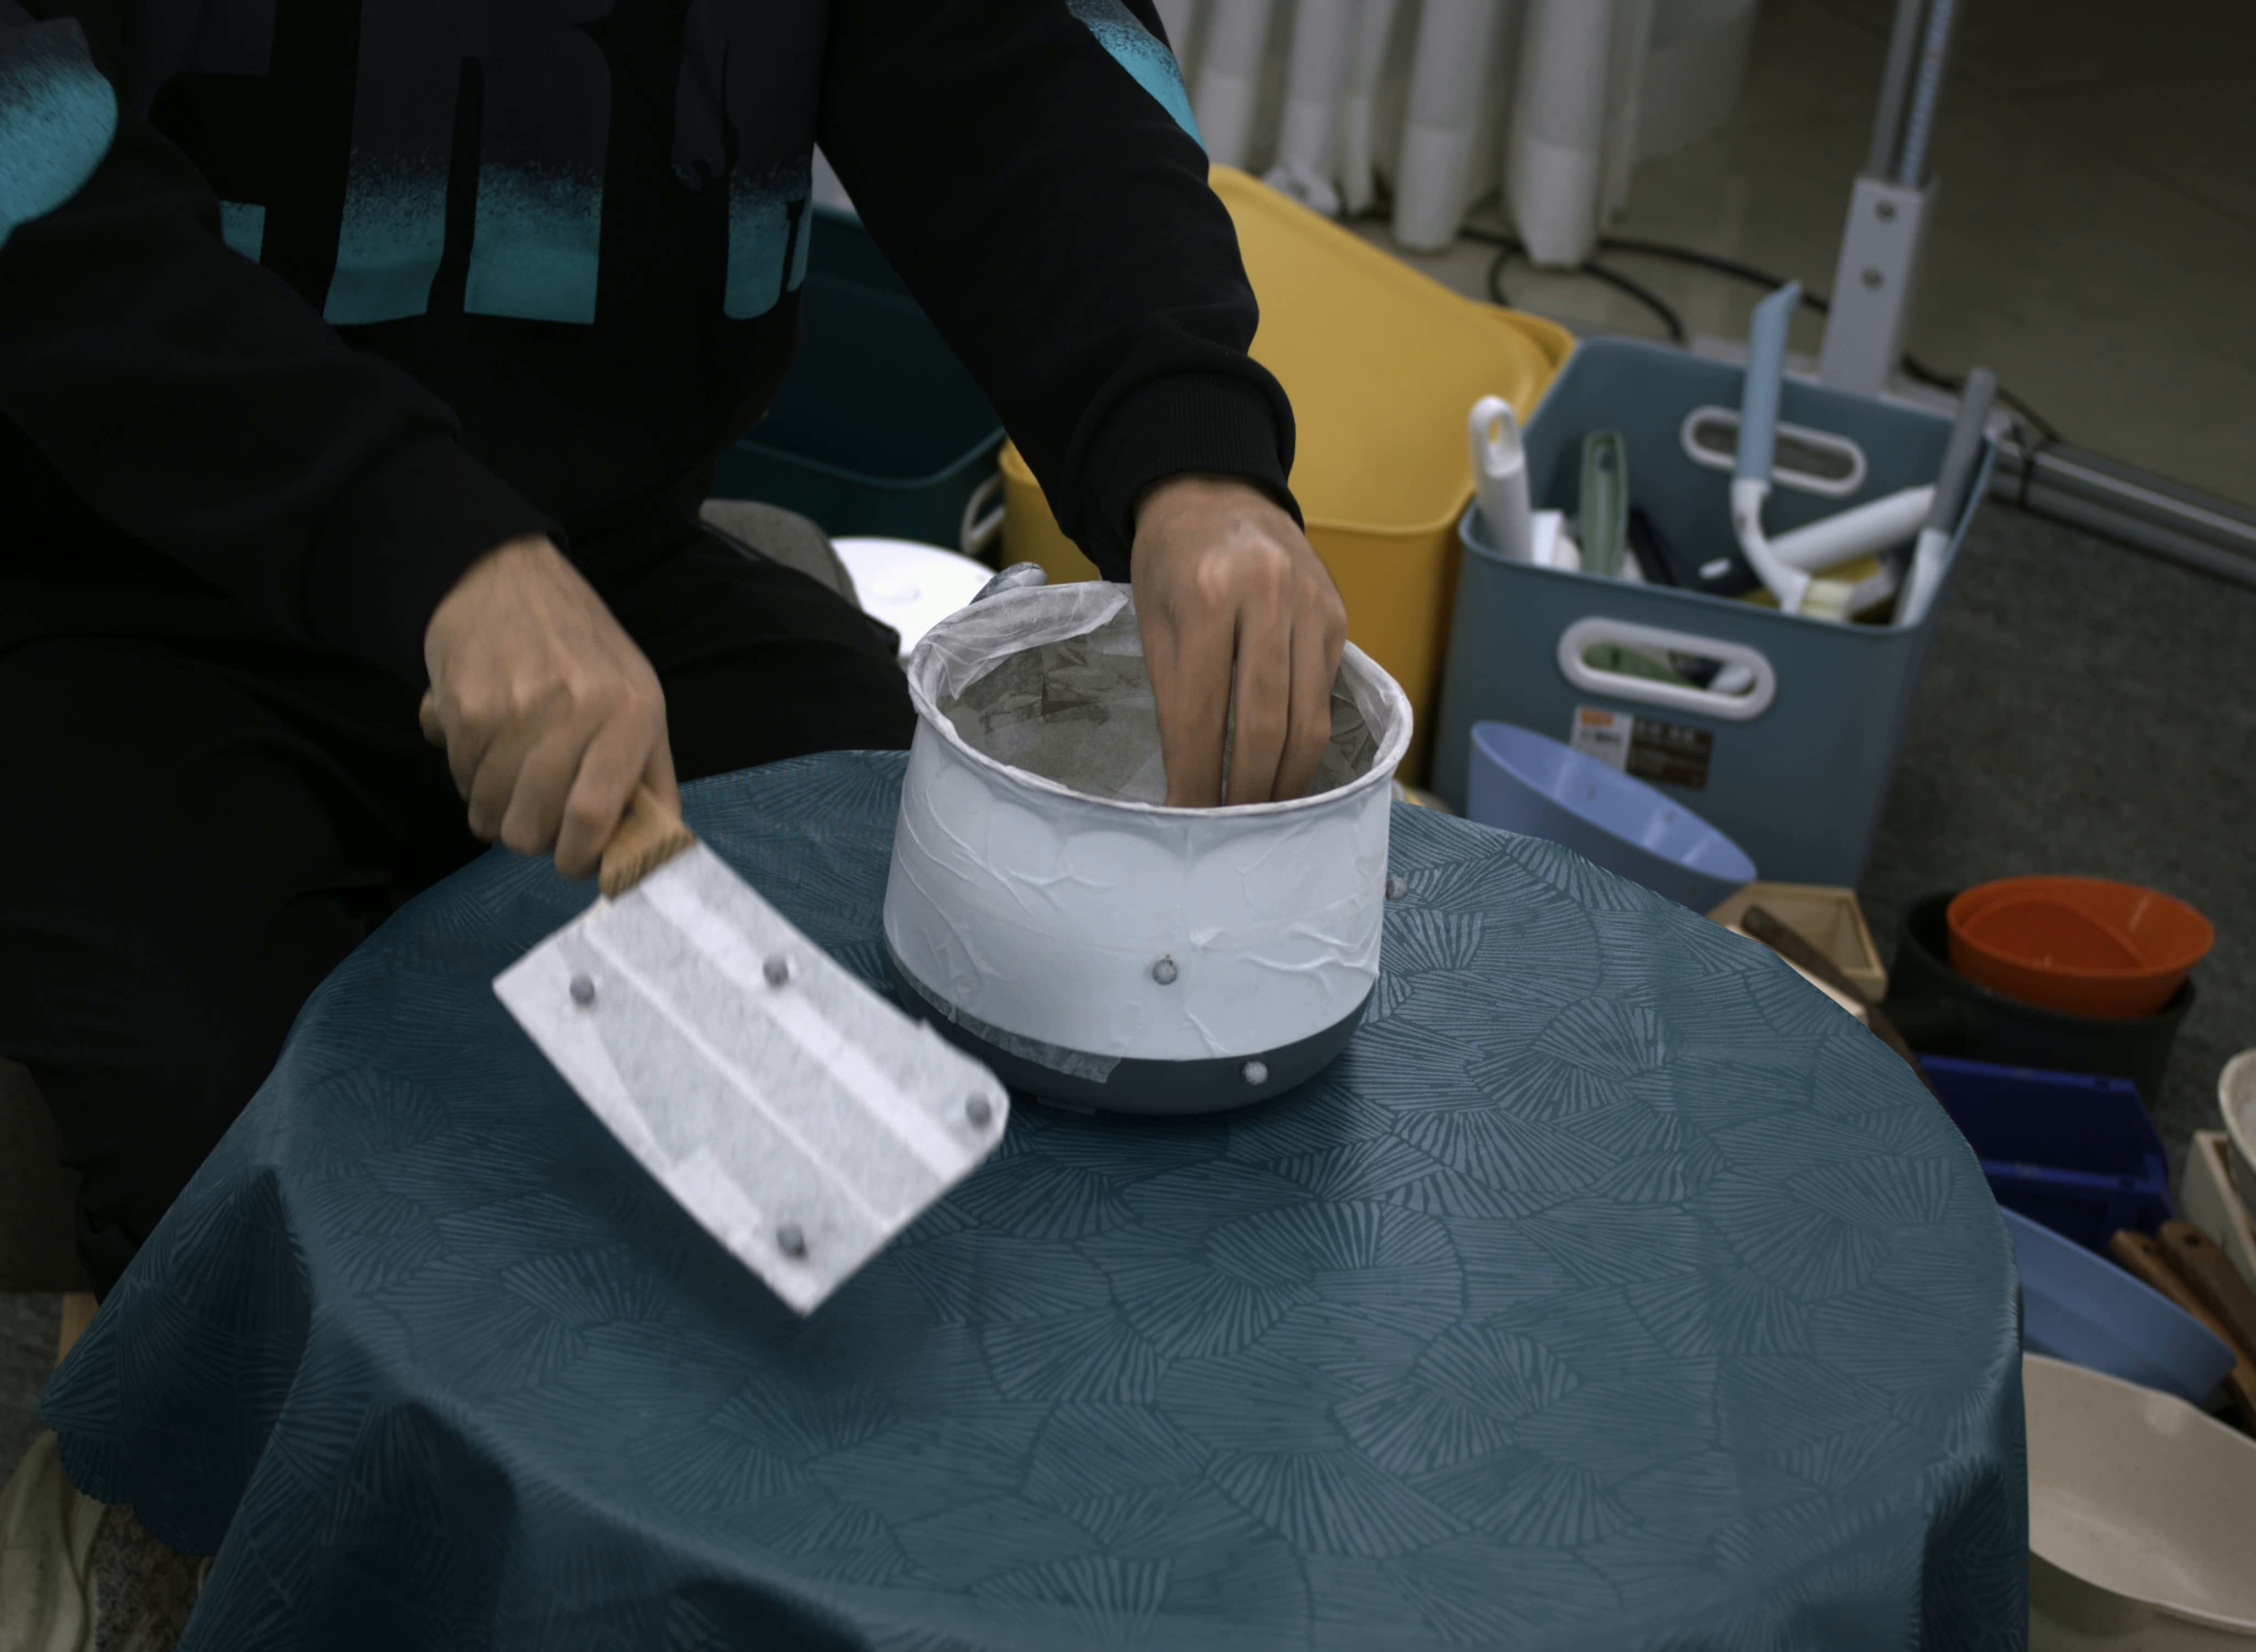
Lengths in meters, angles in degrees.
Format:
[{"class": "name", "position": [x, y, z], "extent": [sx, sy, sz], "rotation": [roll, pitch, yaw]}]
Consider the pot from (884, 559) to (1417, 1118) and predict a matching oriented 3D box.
[{"class": "pot", "position": [-0.009, -0.002, 1.897], "extent": [0.177, 0.136, 0.236], "rotation": [-9, 32, -29]}]

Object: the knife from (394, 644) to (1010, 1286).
[{"class": "knife", "position": [-0.153, 0.035, 1.759], "extent": [0.114, 0.021, 0.318], "rotation": [-35, 50, -12]}]
